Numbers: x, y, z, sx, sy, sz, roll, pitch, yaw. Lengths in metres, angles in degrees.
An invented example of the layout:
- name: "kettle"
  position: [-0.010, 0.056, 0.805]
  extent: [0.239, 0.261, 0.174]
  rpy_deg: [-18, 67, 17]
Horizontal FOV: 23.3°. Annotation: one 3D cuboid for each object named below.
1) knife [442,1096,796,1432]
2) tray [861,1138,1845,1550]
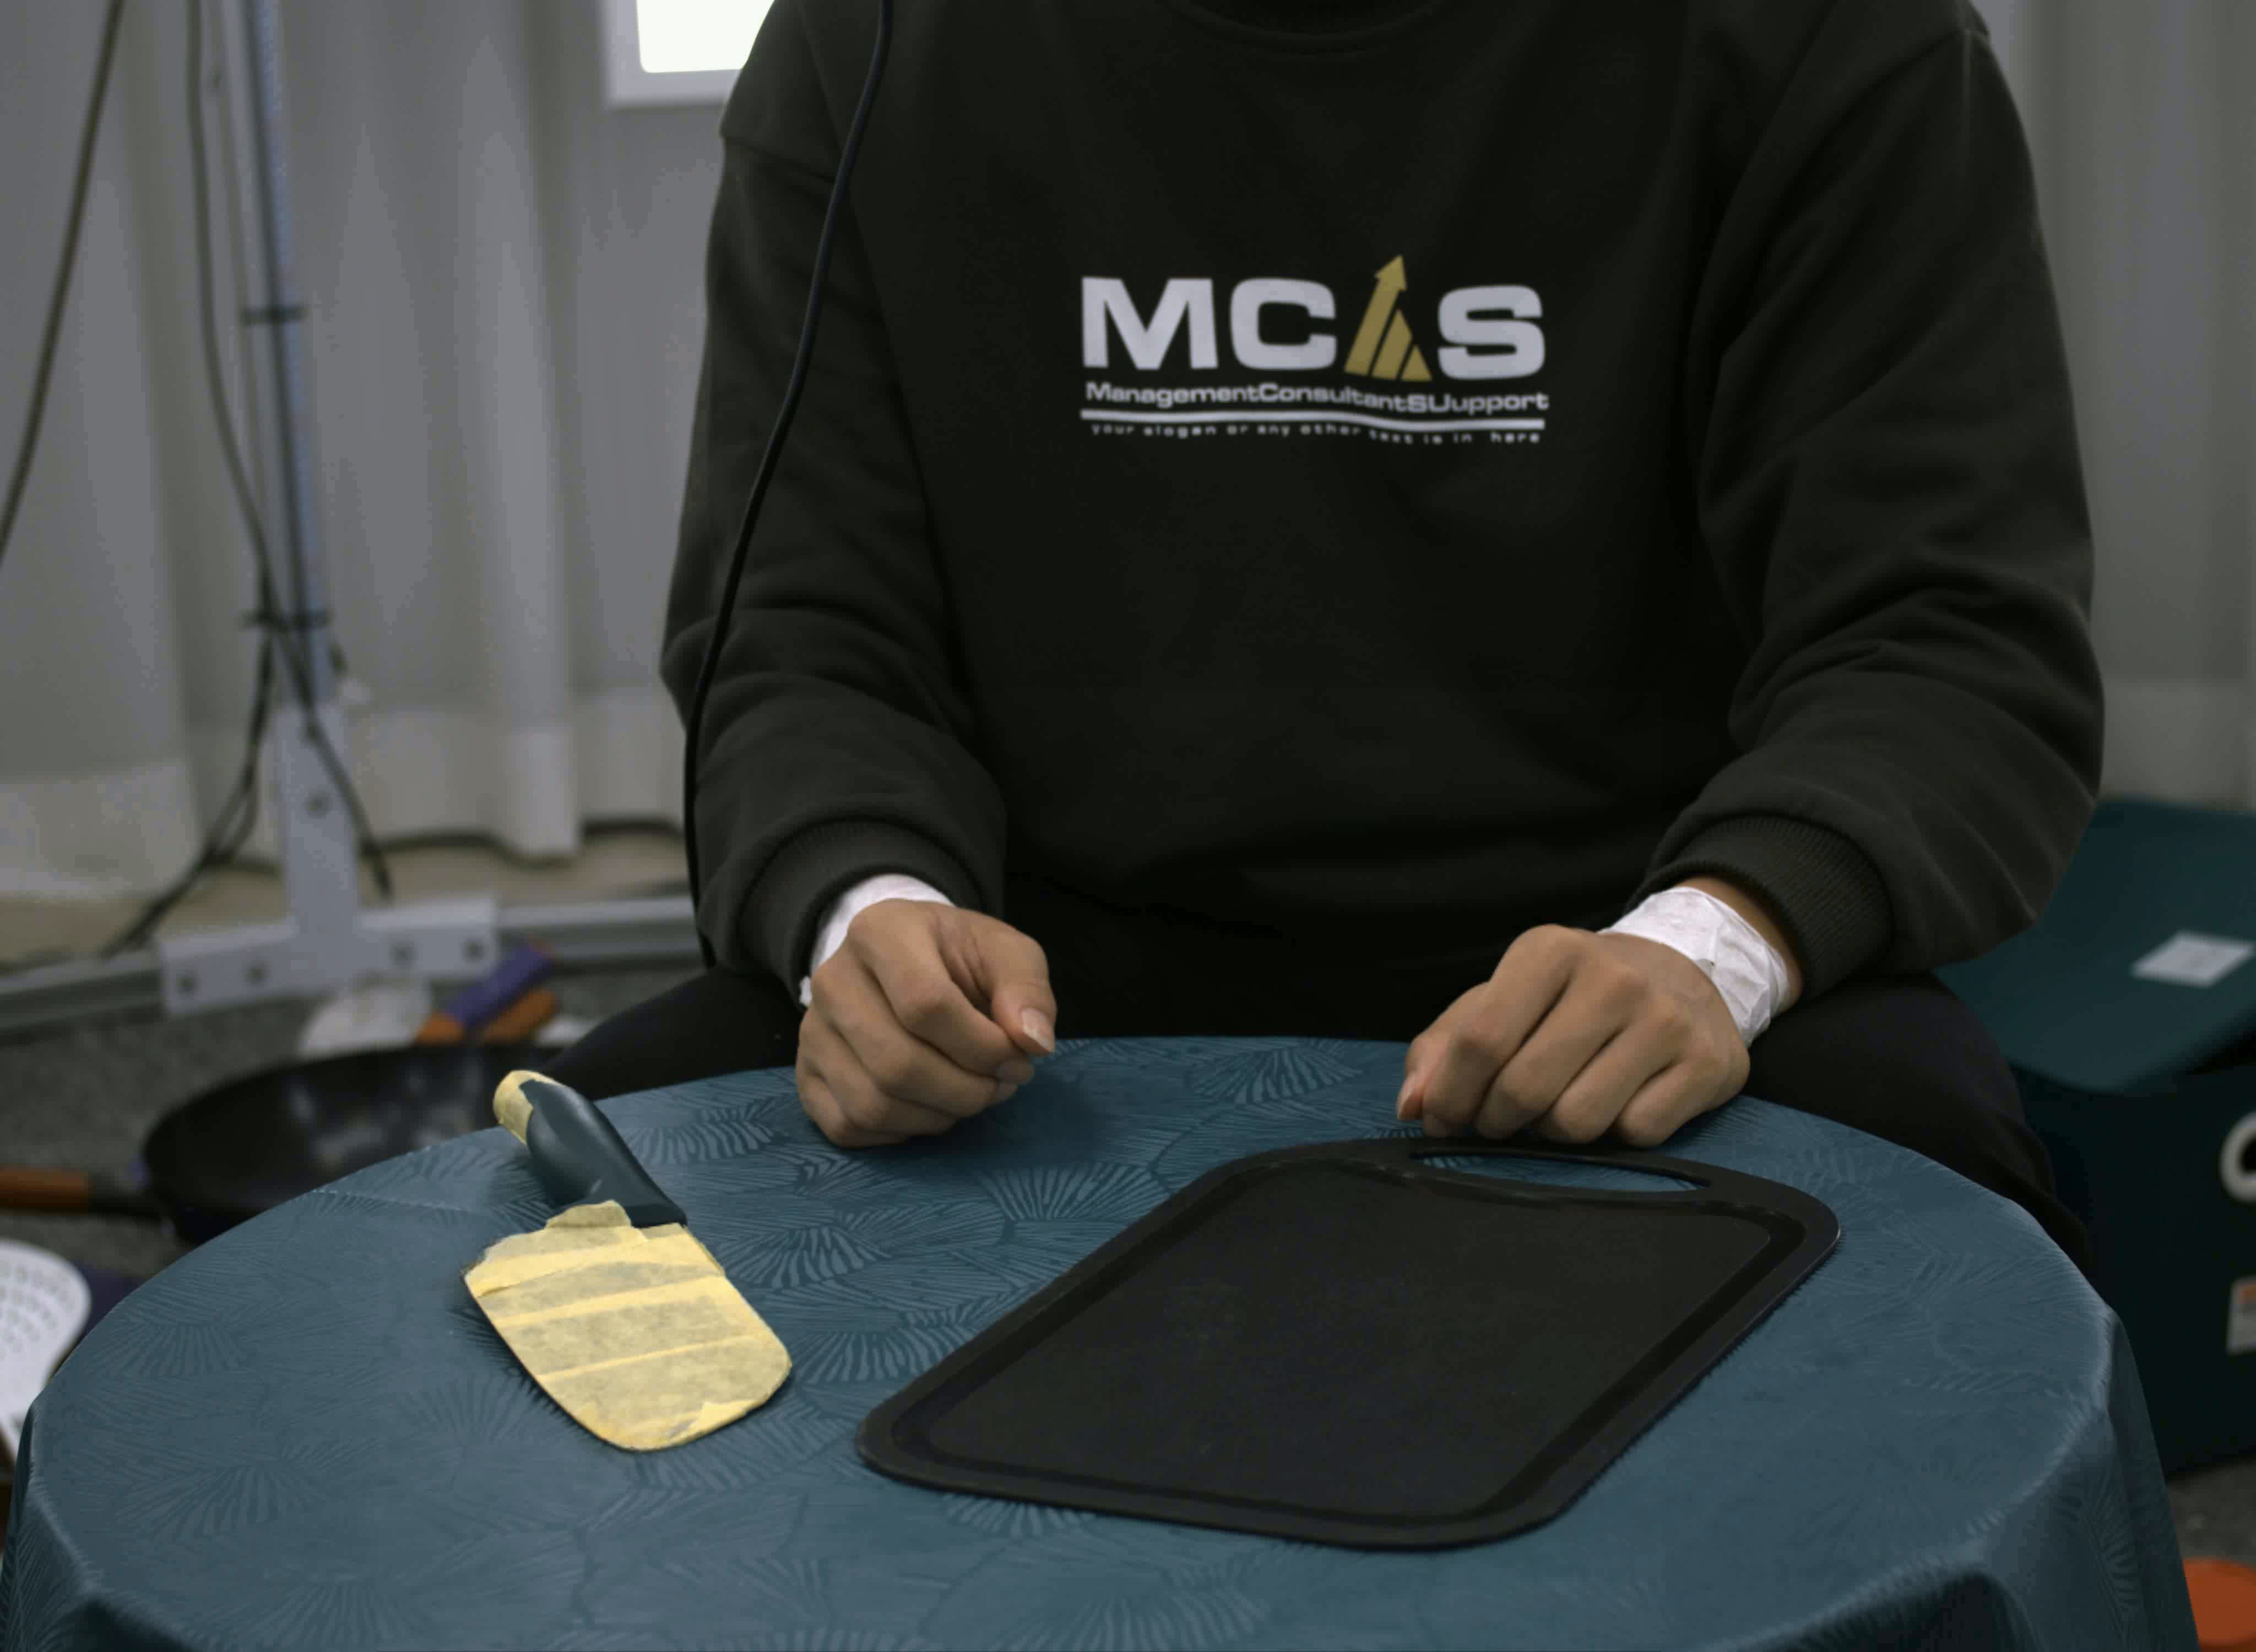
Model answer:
- name: "knife"
  position: [-0.165, 0.132, 1.654]
  extent: [0.080, 0.027, 0.292]
  rpy_deg: [-6, 16, -17]
- name: "tray"
  position: [0.074, 0.141, 1.589]
  extent: [0.211, 0.010, 0.326]
  rpy_deg: [5, 16, 27]
